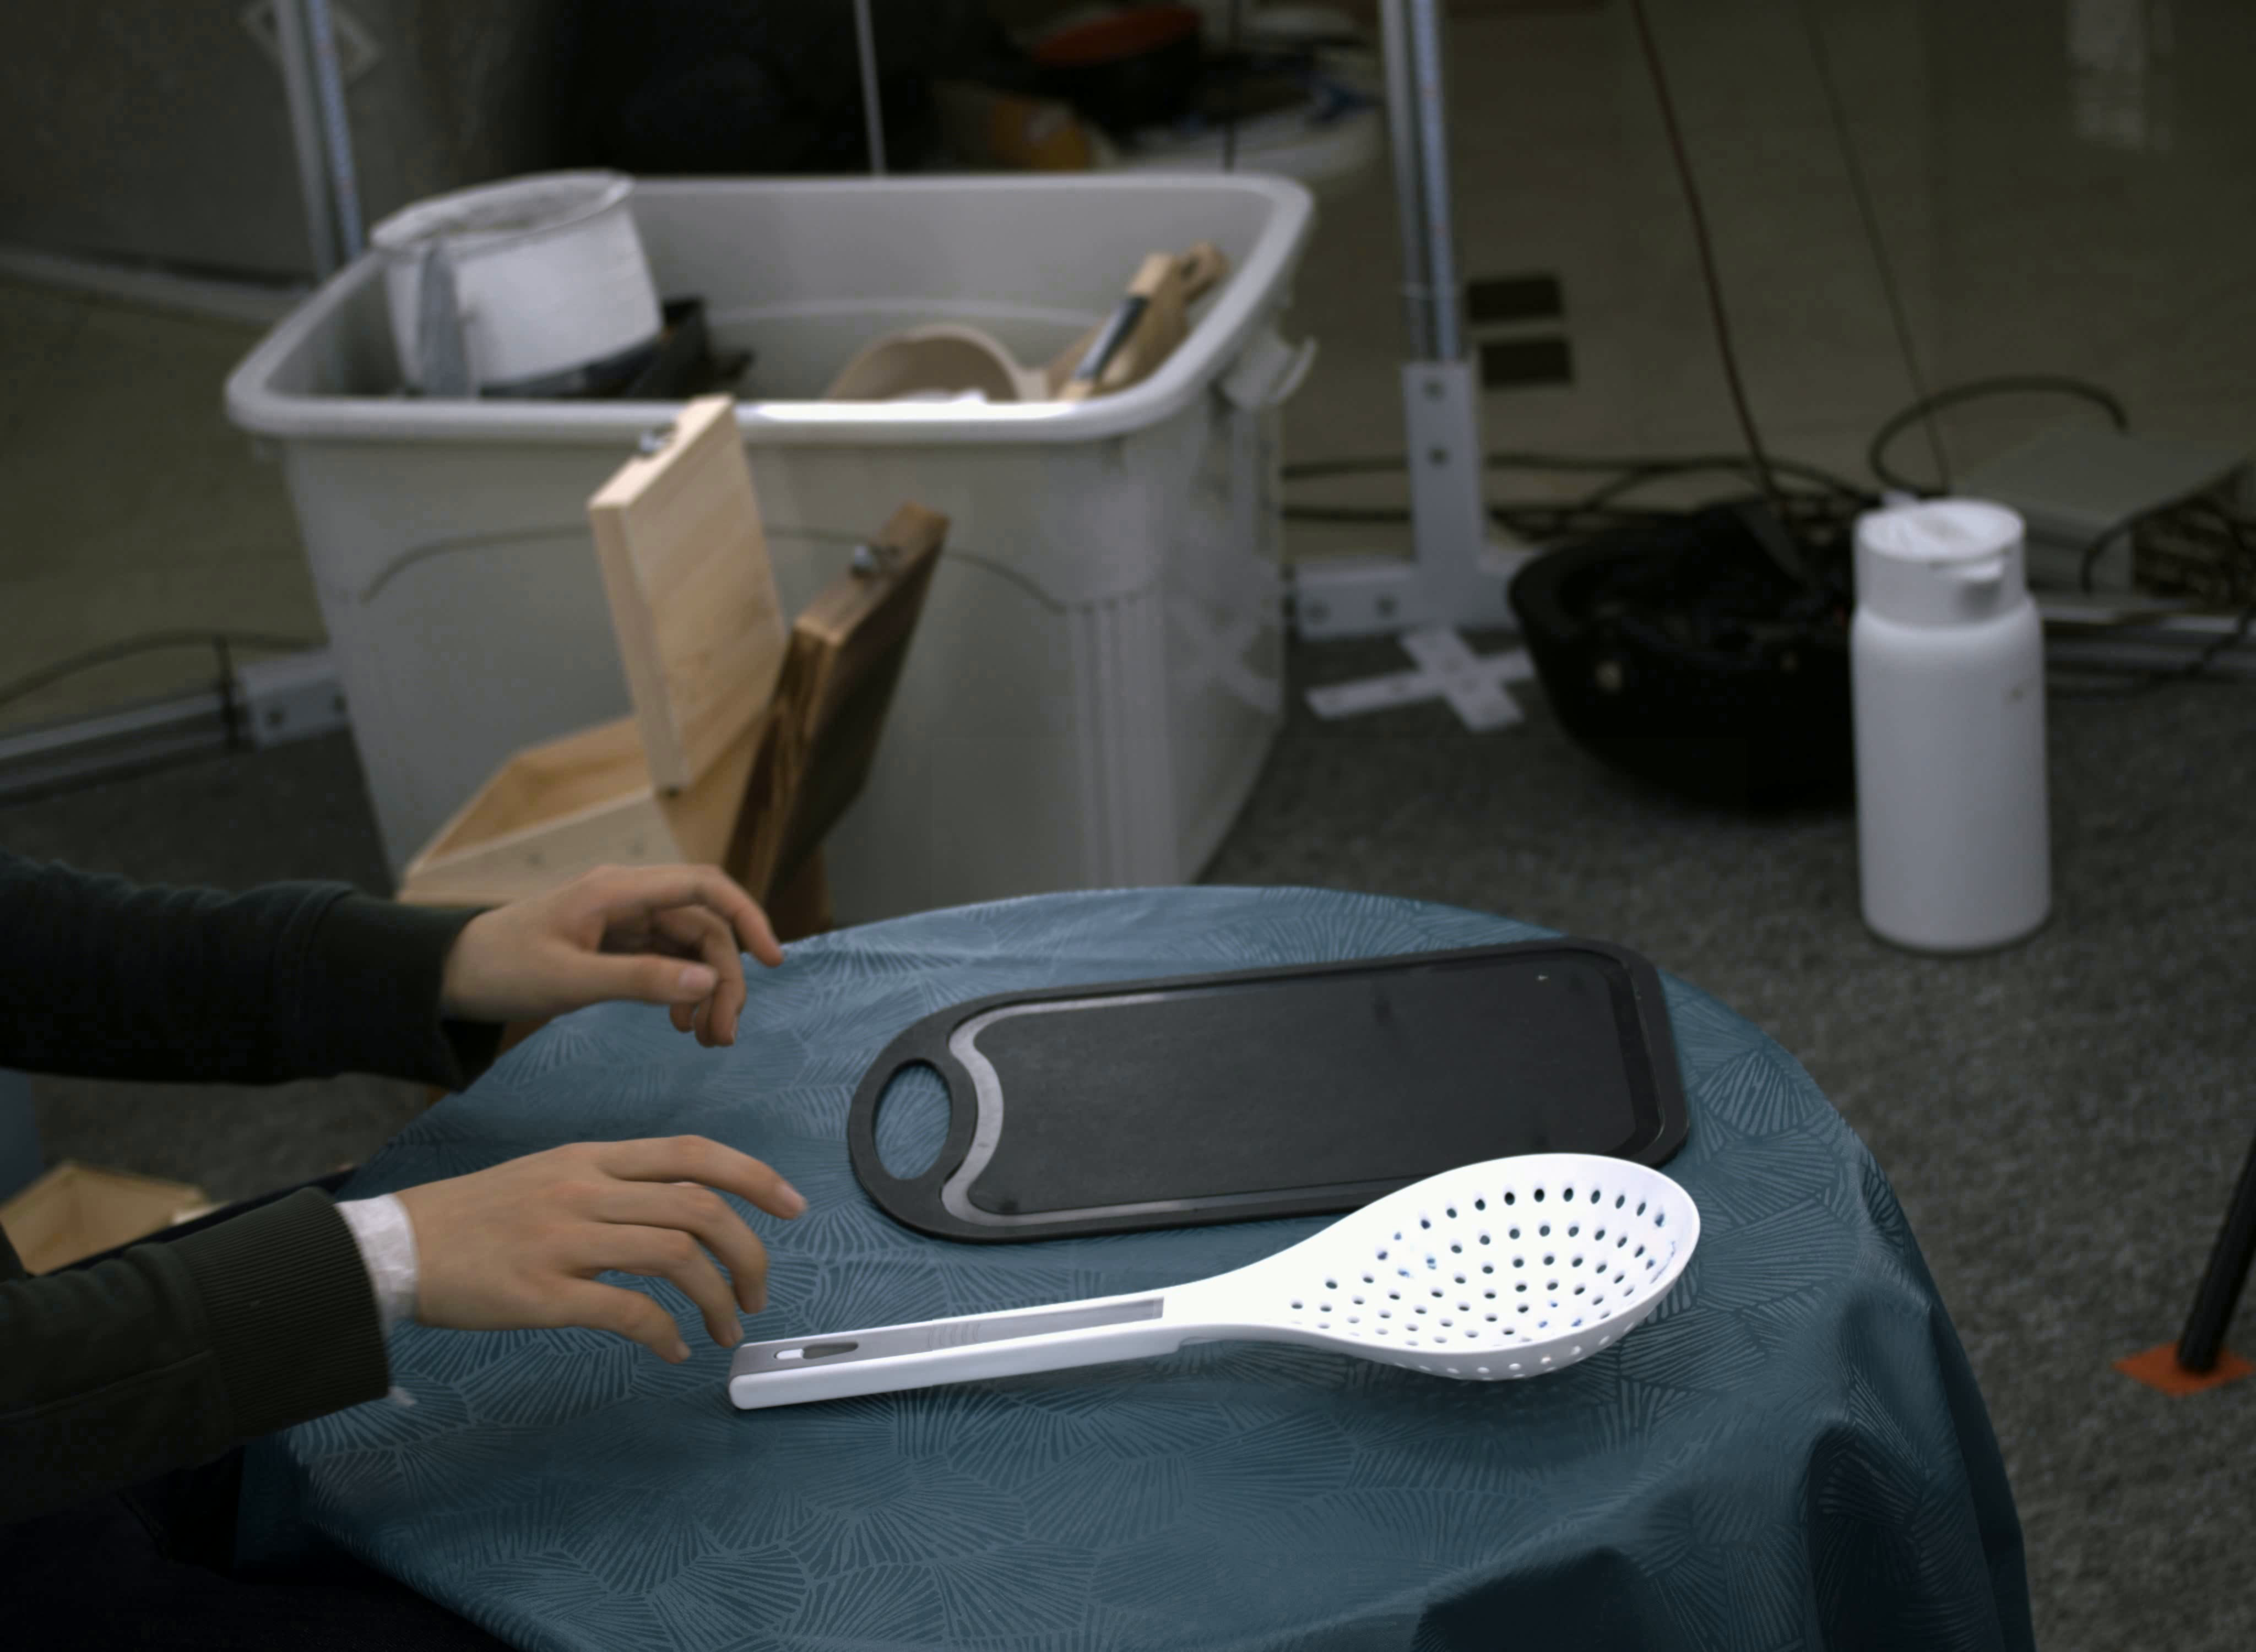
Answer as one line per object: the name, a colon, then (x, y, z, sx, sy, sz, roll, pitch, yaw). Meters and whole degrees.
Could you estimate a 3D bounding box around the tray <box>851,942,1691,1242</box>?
tray: (0.053, 0.102, 2.213, 0.325, 0.010, 0.208, -6, 25, 3)

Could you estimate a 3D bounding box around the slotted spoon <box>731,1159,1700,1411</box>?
slotted spoon: (0.029, 0.173, 2.017, 0.349, 0.046, 0.134, -5, 24, 6)
